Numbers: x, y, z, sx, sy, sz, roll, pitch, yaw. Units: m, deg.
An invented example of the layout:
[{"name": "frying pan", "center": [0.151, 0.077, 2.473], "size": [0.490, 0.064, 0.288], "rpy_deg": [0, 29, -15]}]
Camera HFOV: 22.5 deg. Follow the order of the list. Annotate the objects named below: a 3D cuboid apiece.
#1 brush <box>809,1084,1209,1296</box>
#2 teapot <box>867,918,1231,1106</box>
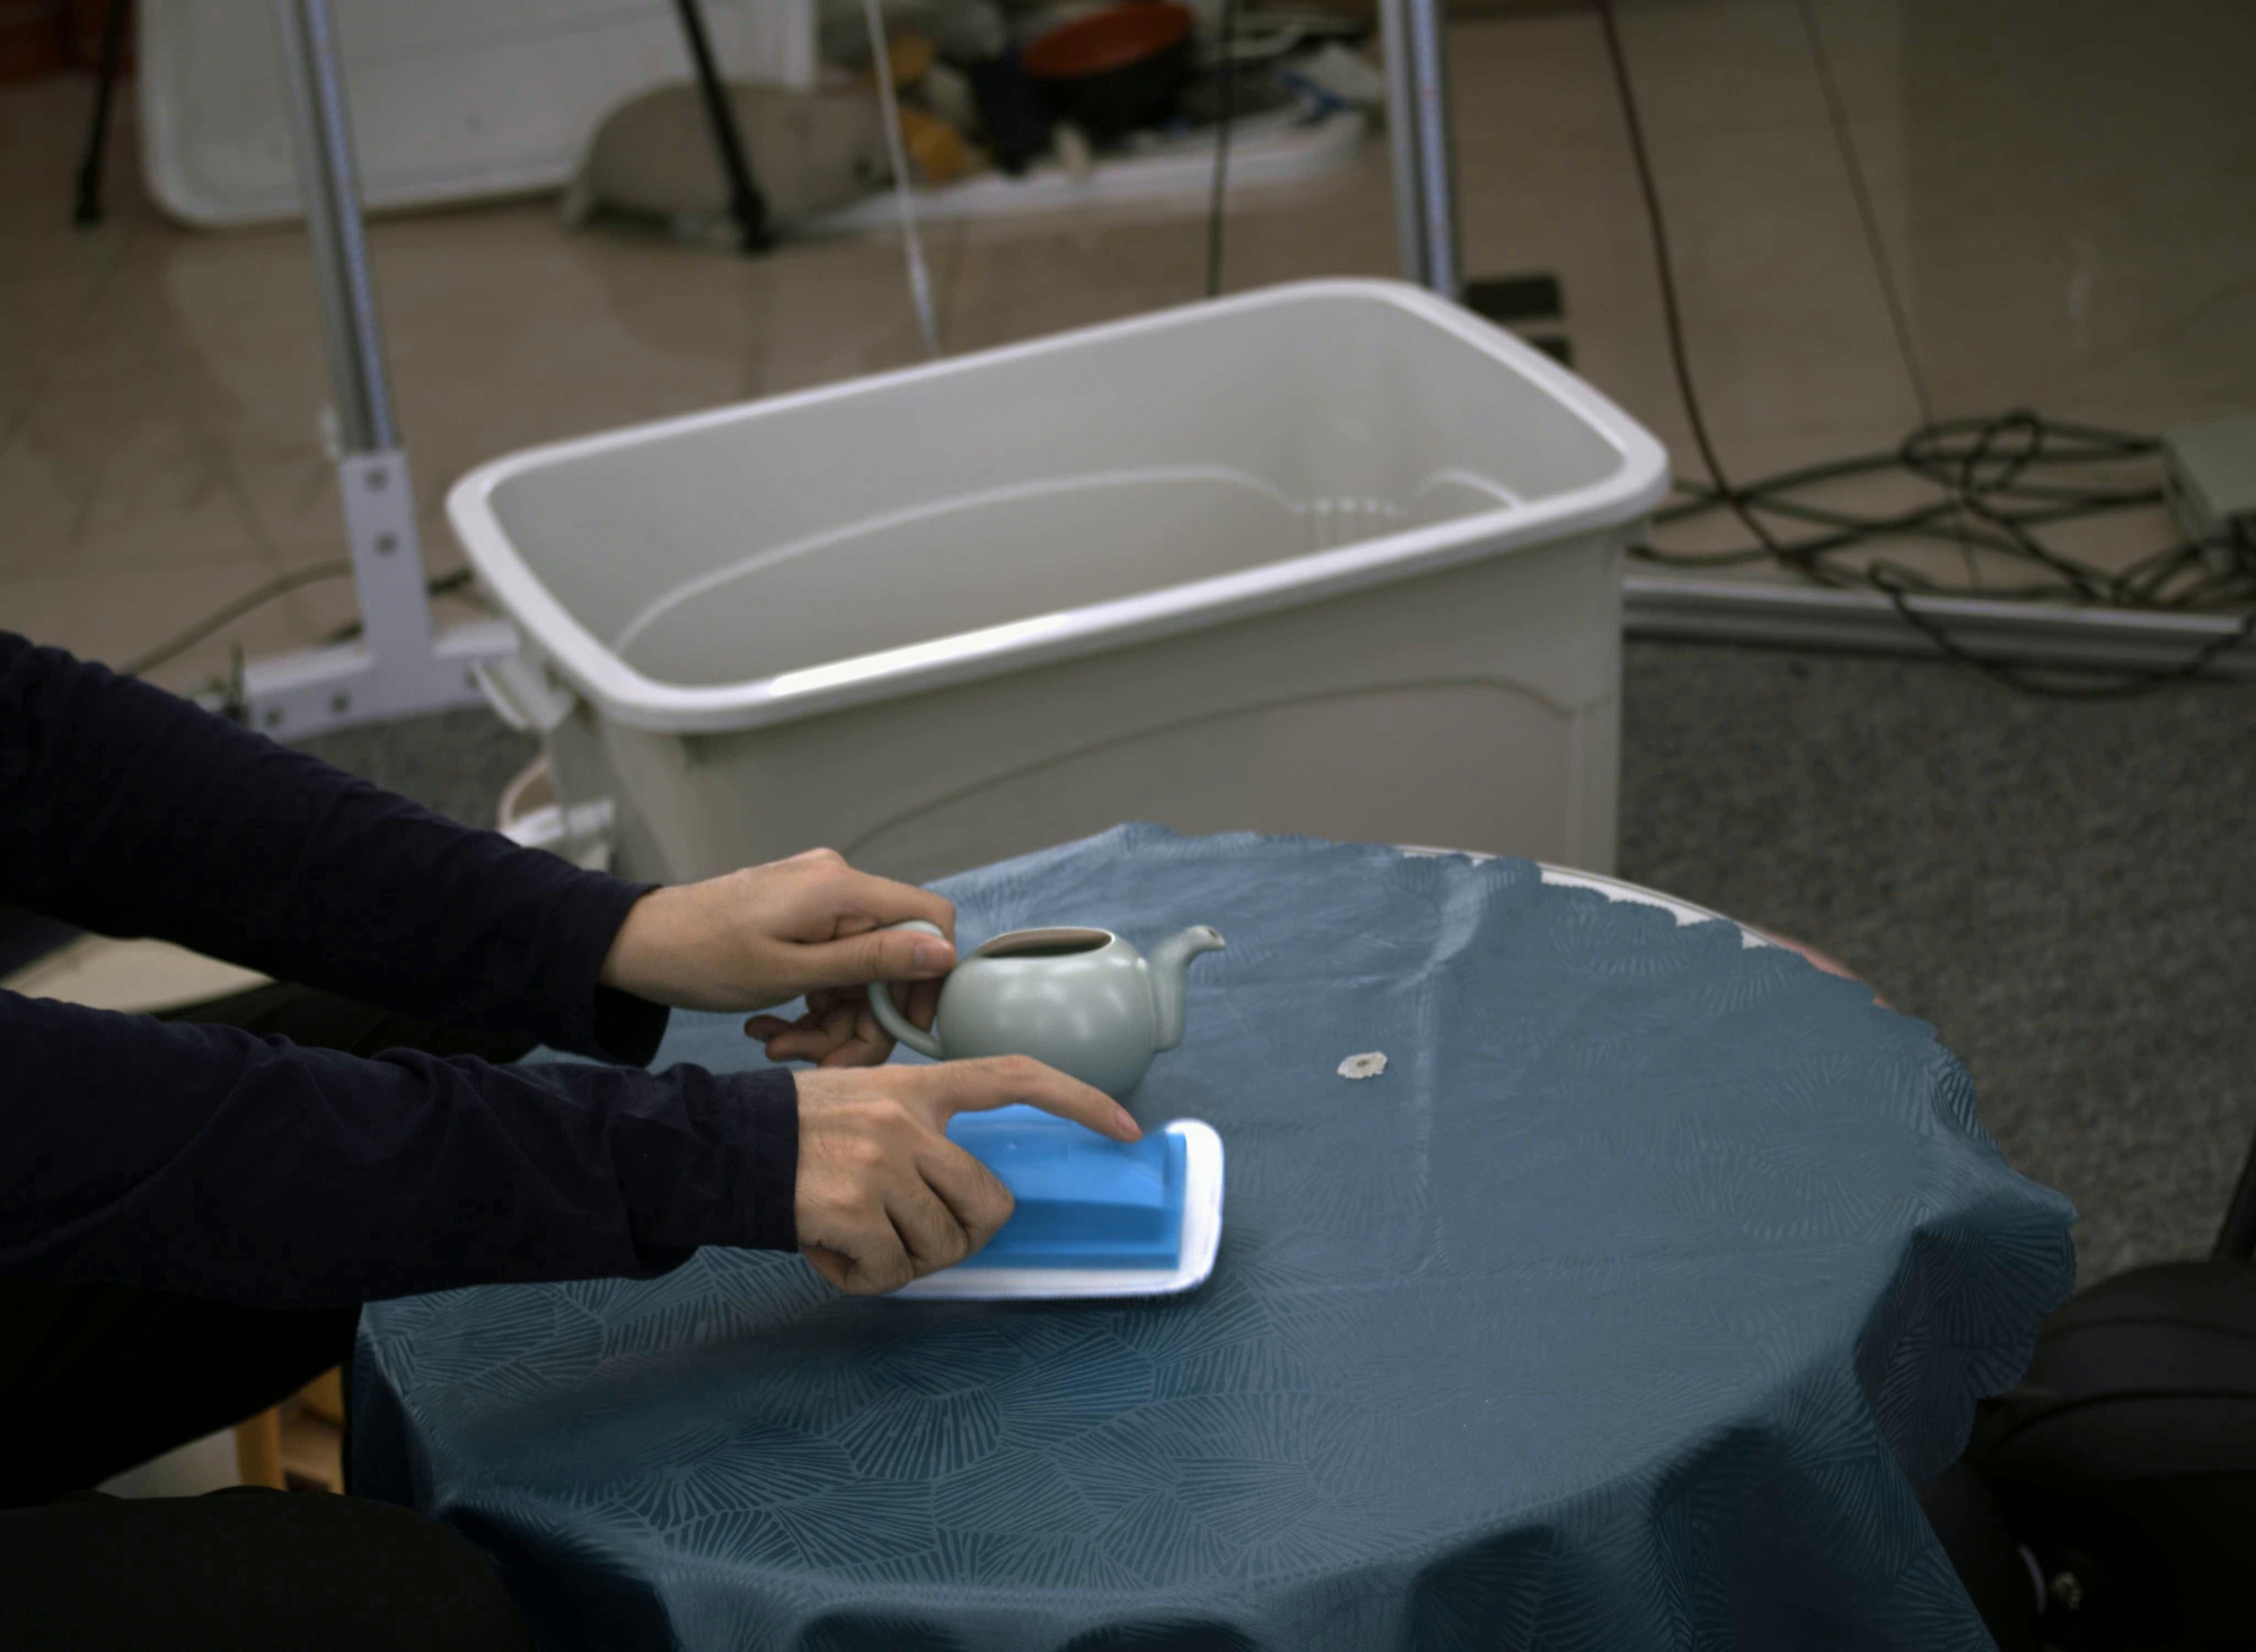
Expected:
[{"name": "brush", "center": [-0.044, 0.129, 2.071], "size": [0.143, 0.057, 0.082], "rpy_deg": [3, 46, 6]}, {"name": "teapot", "center": [-0.031, 0.074, 2.199], "size": [0.143, 0.075, 0.087], "rpy_deg": [3, 16, 13]}]
